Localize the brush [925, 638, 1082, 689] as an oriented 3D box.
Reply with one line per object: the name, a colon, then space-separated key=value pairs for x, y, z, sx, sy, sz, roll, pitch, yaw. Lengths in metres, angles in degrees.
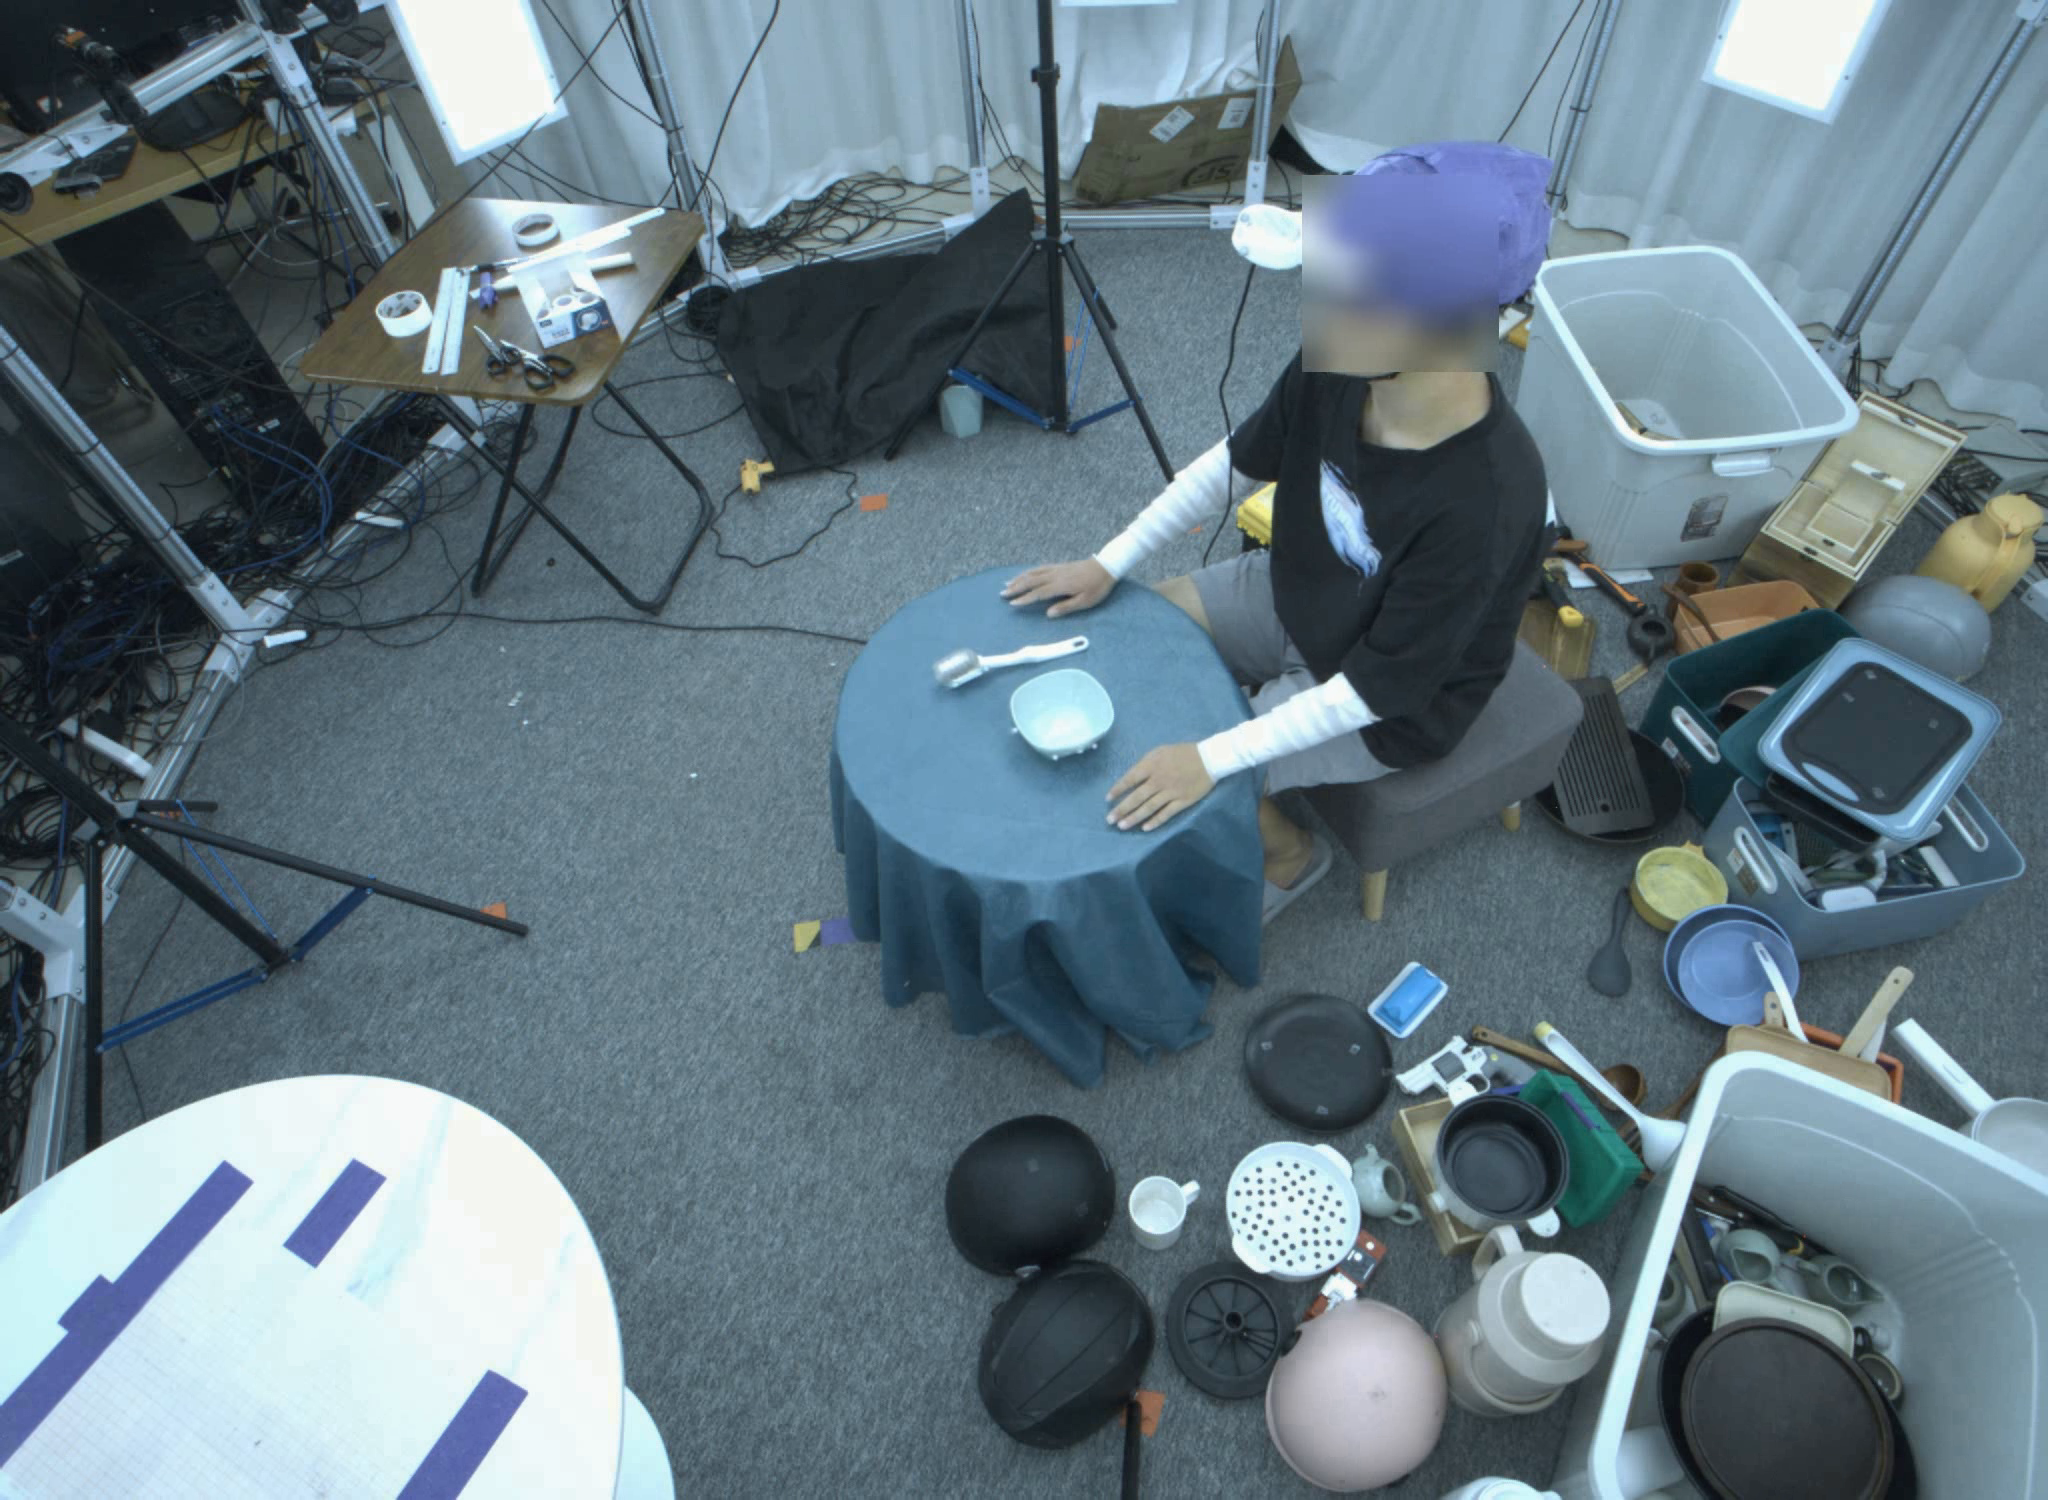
brush: x=-0.029 y=-0.145 z=1.852 sx=0.245 sy=0.051 sz=0.034 roll=-15 pitch=53 yaw=-8

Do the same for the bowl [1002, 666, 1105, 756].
bowl: x=0.044 y=-0.046 z=1.775 sx=0.151 sy=0.059 sz=0.150 roll=0 pitch=56 yaw=2
